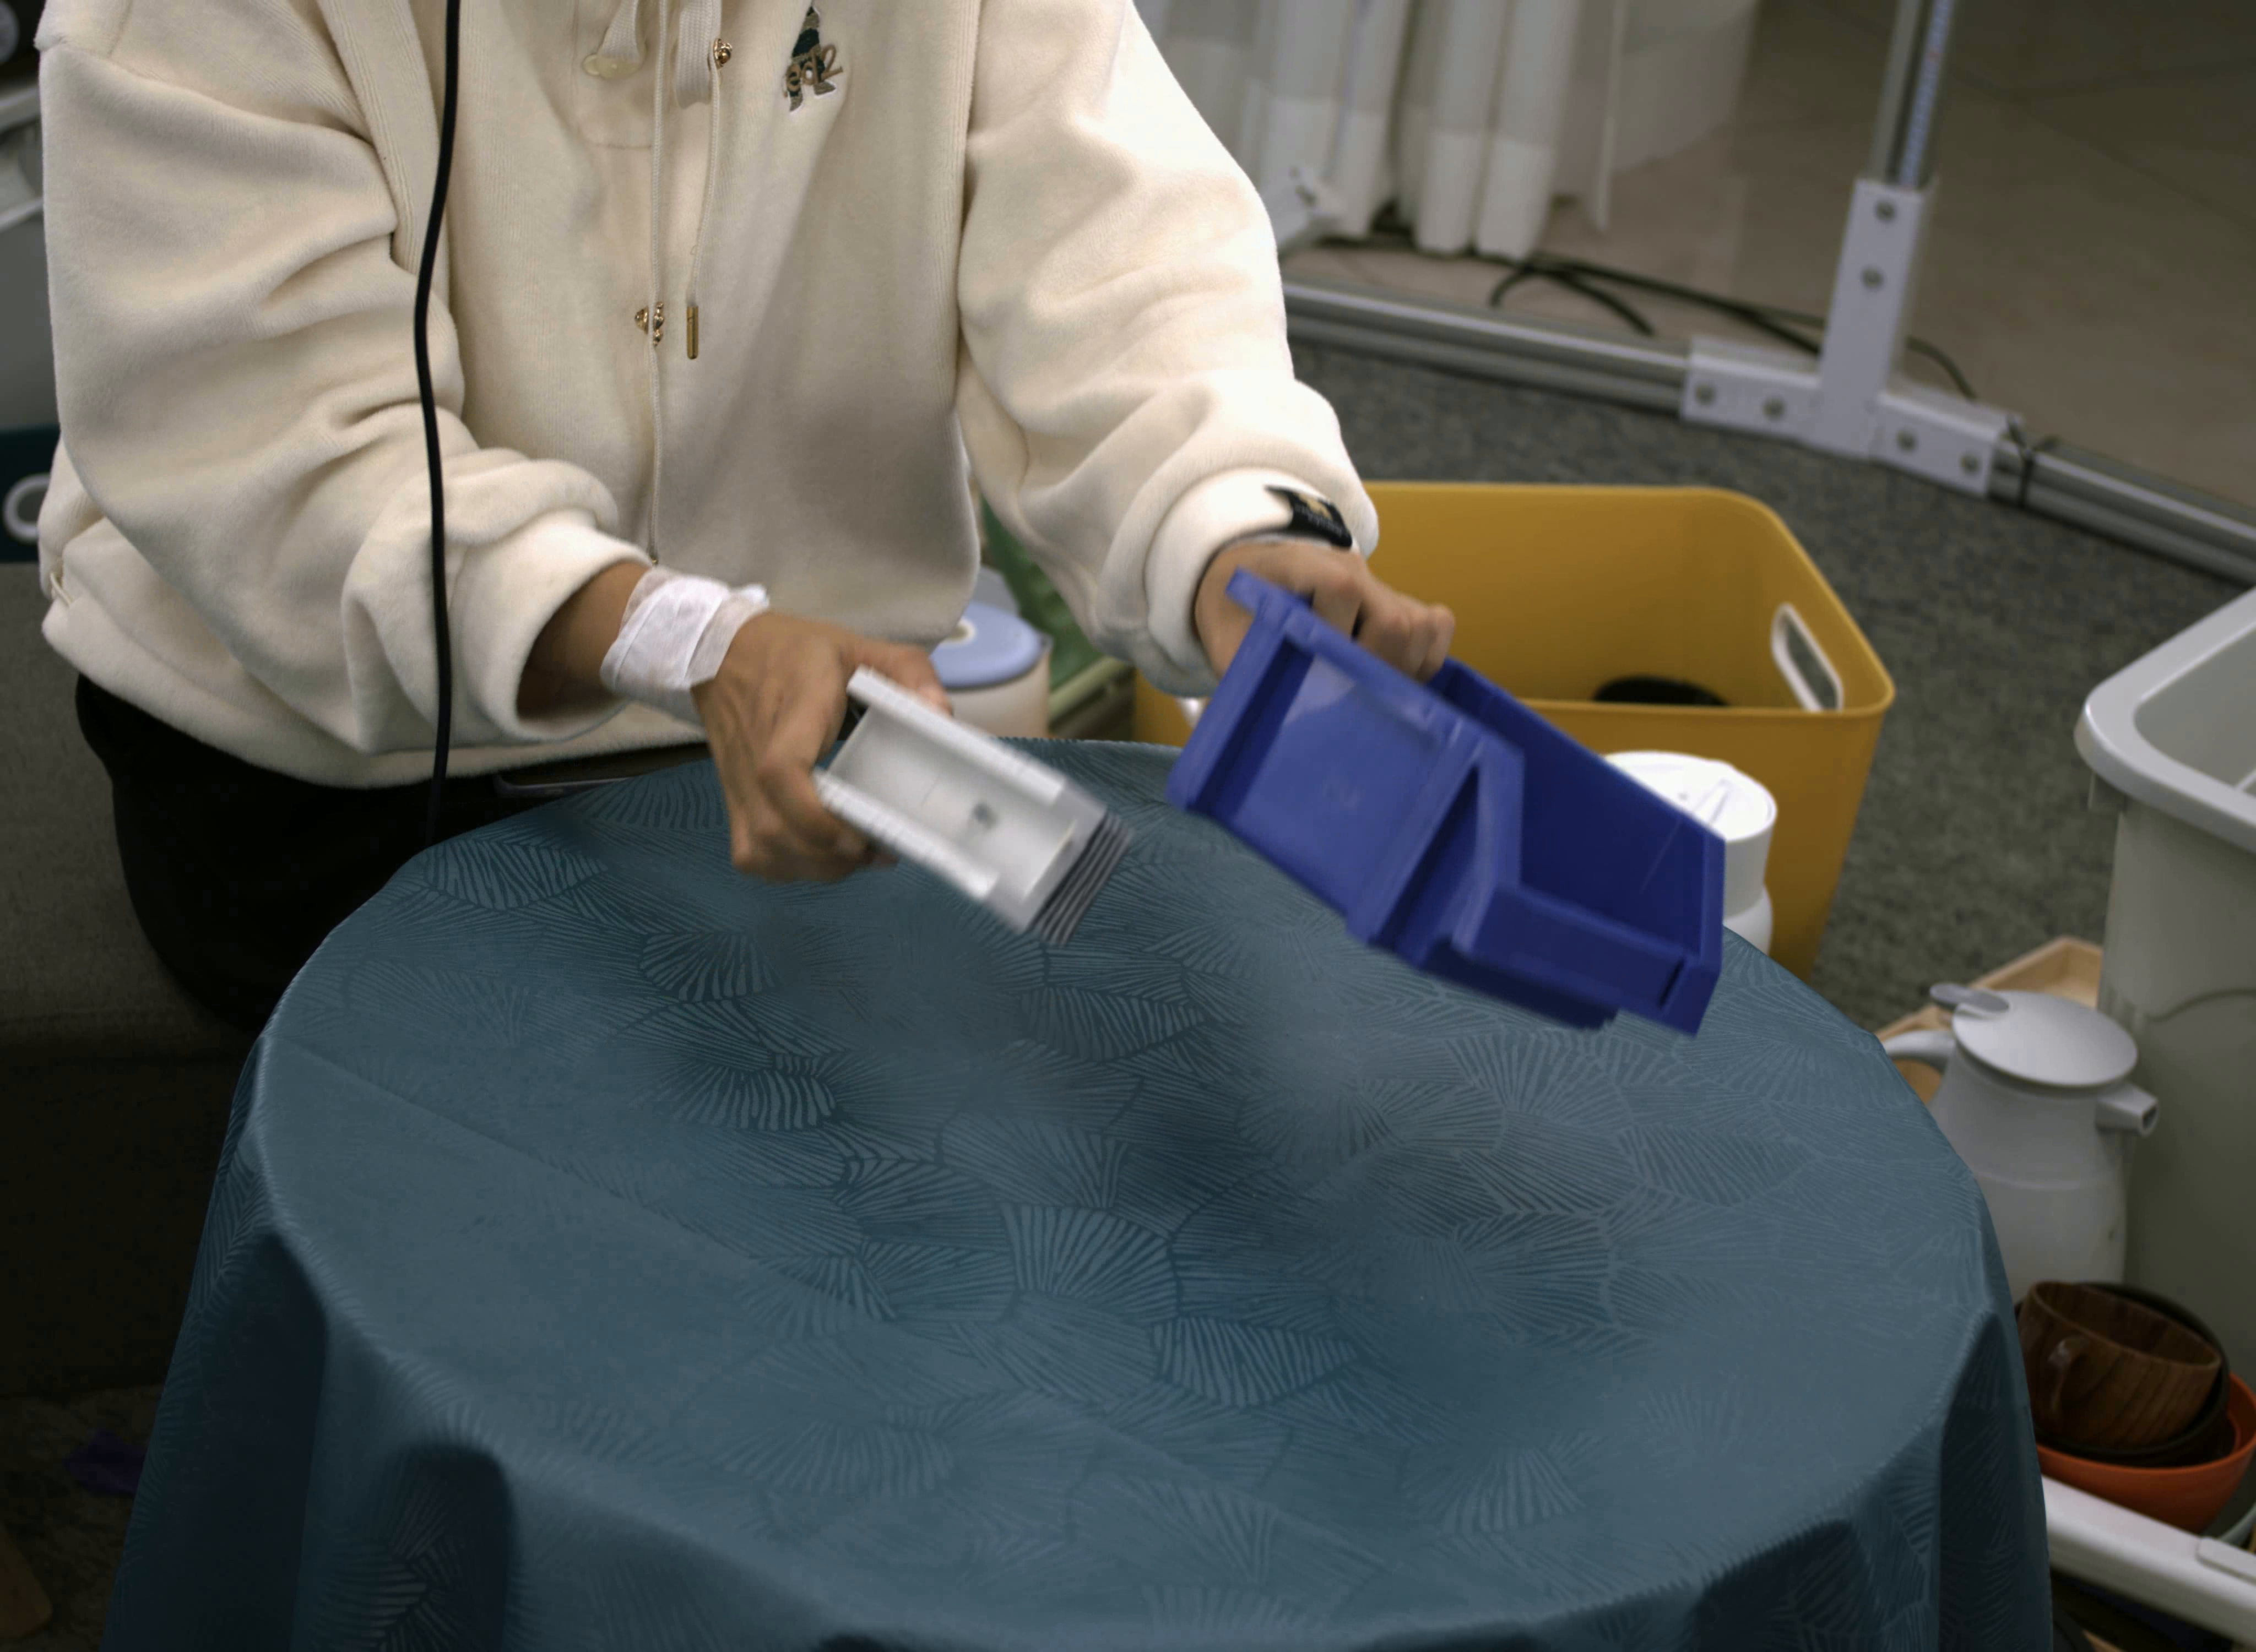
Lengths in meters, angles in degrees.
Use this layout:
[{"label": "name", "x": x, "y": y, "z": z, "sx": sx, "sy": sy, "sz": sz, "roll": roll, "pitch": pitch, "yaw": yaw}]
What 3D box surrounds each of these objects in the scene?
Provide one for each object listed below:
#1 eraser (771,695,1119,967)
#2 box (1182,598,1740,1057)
[{"label": "eraser", "x": -0.063, "y": 0.001, "z": 1.826, "sx": 0.046, "sy": 0.050, "sz": 0.135, "roll": 39, "pitch": -8, "yaw": -39}, {"label": "box", "x": 0.115, "y": 0.008, "z": 1.790, "sx": 0.123, "sy": 0.082, "sz": 0.181, "roll": 20, "pitch": 10, "yaw": -41}]
